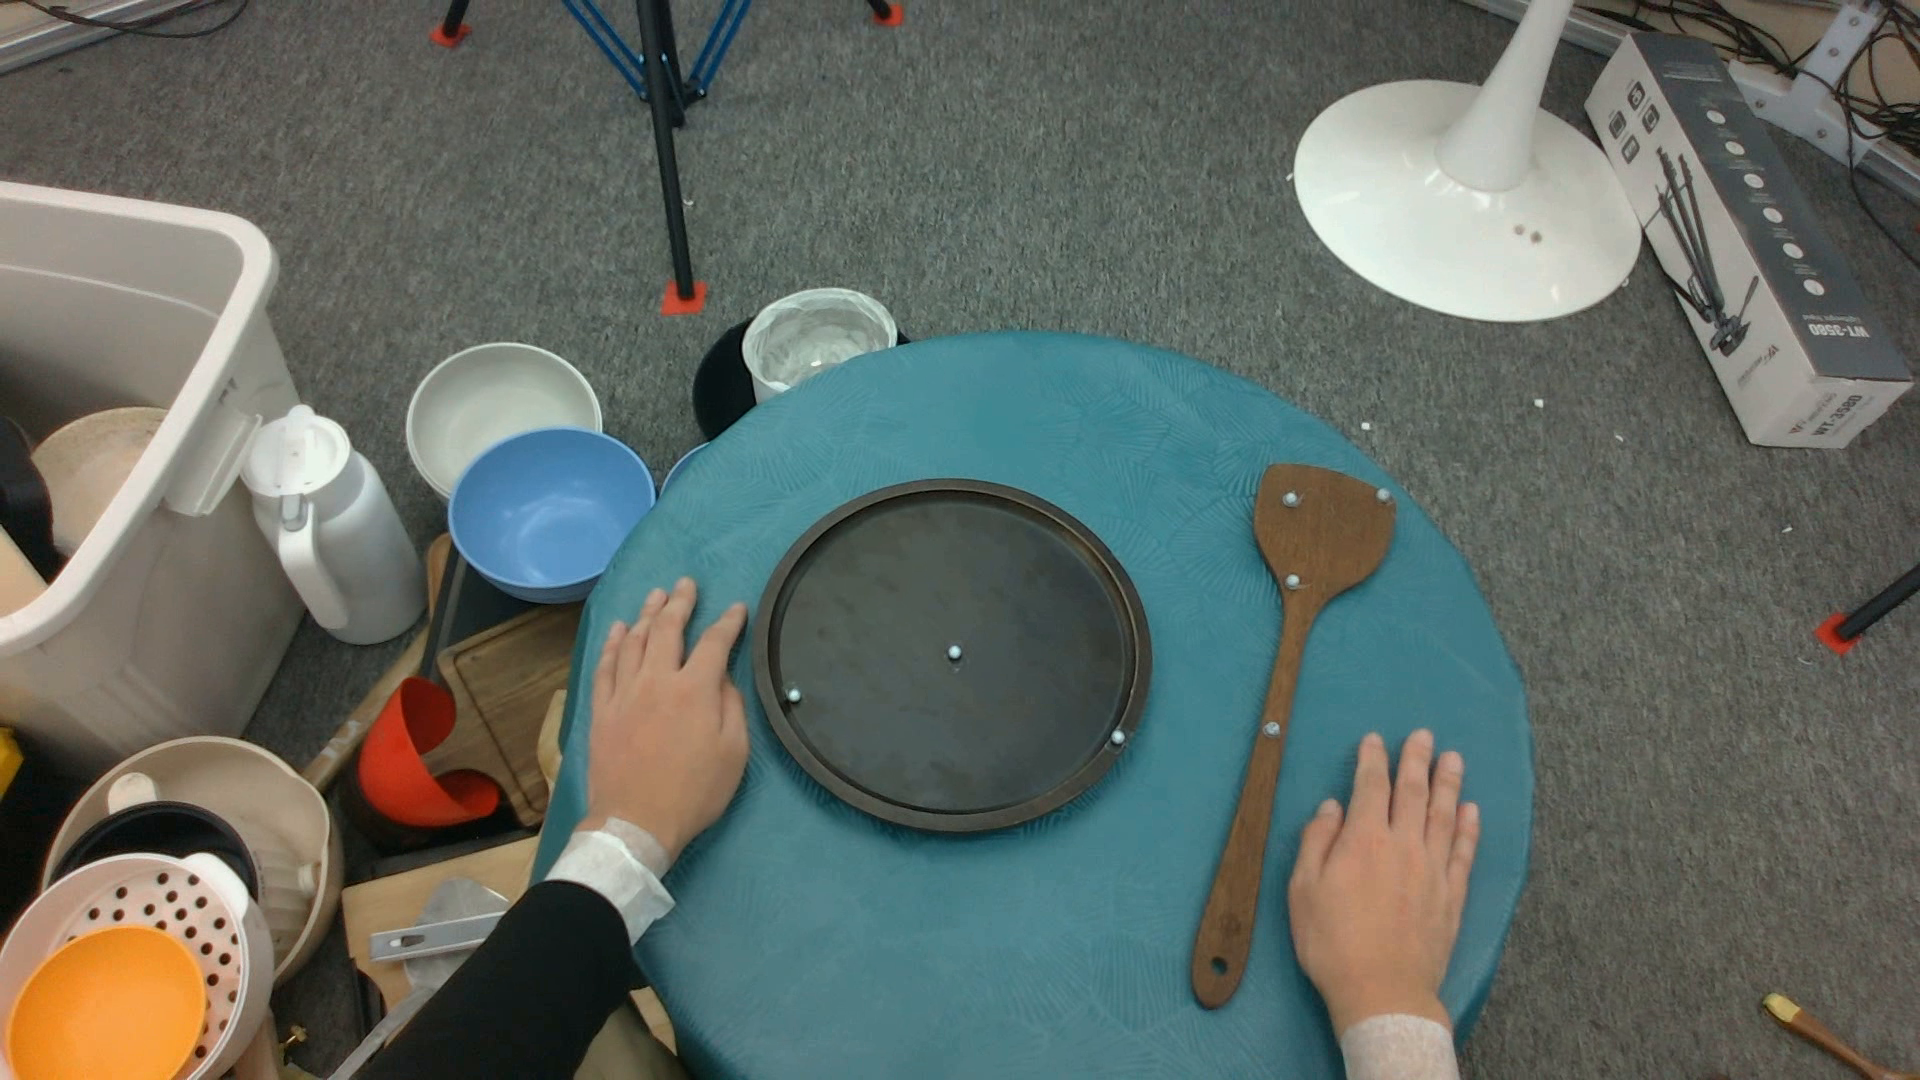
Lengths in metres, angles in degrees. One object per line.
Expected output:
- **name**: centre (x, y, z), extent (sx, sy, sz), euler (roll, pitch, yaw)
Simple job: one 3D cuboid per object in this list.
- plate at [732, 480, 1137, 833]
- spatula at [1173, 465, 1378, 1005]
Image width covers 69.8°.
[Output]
- **plate**: centre (-0.016, 0.067, 0.868), extent (0.255, 0.029, 0.256), euler (3, 55, -4)
- **spatula**: centre (0.189, 0.104, 0.865), extent (0.096, 0.016, 0.388), euler (17, 57, 7)
